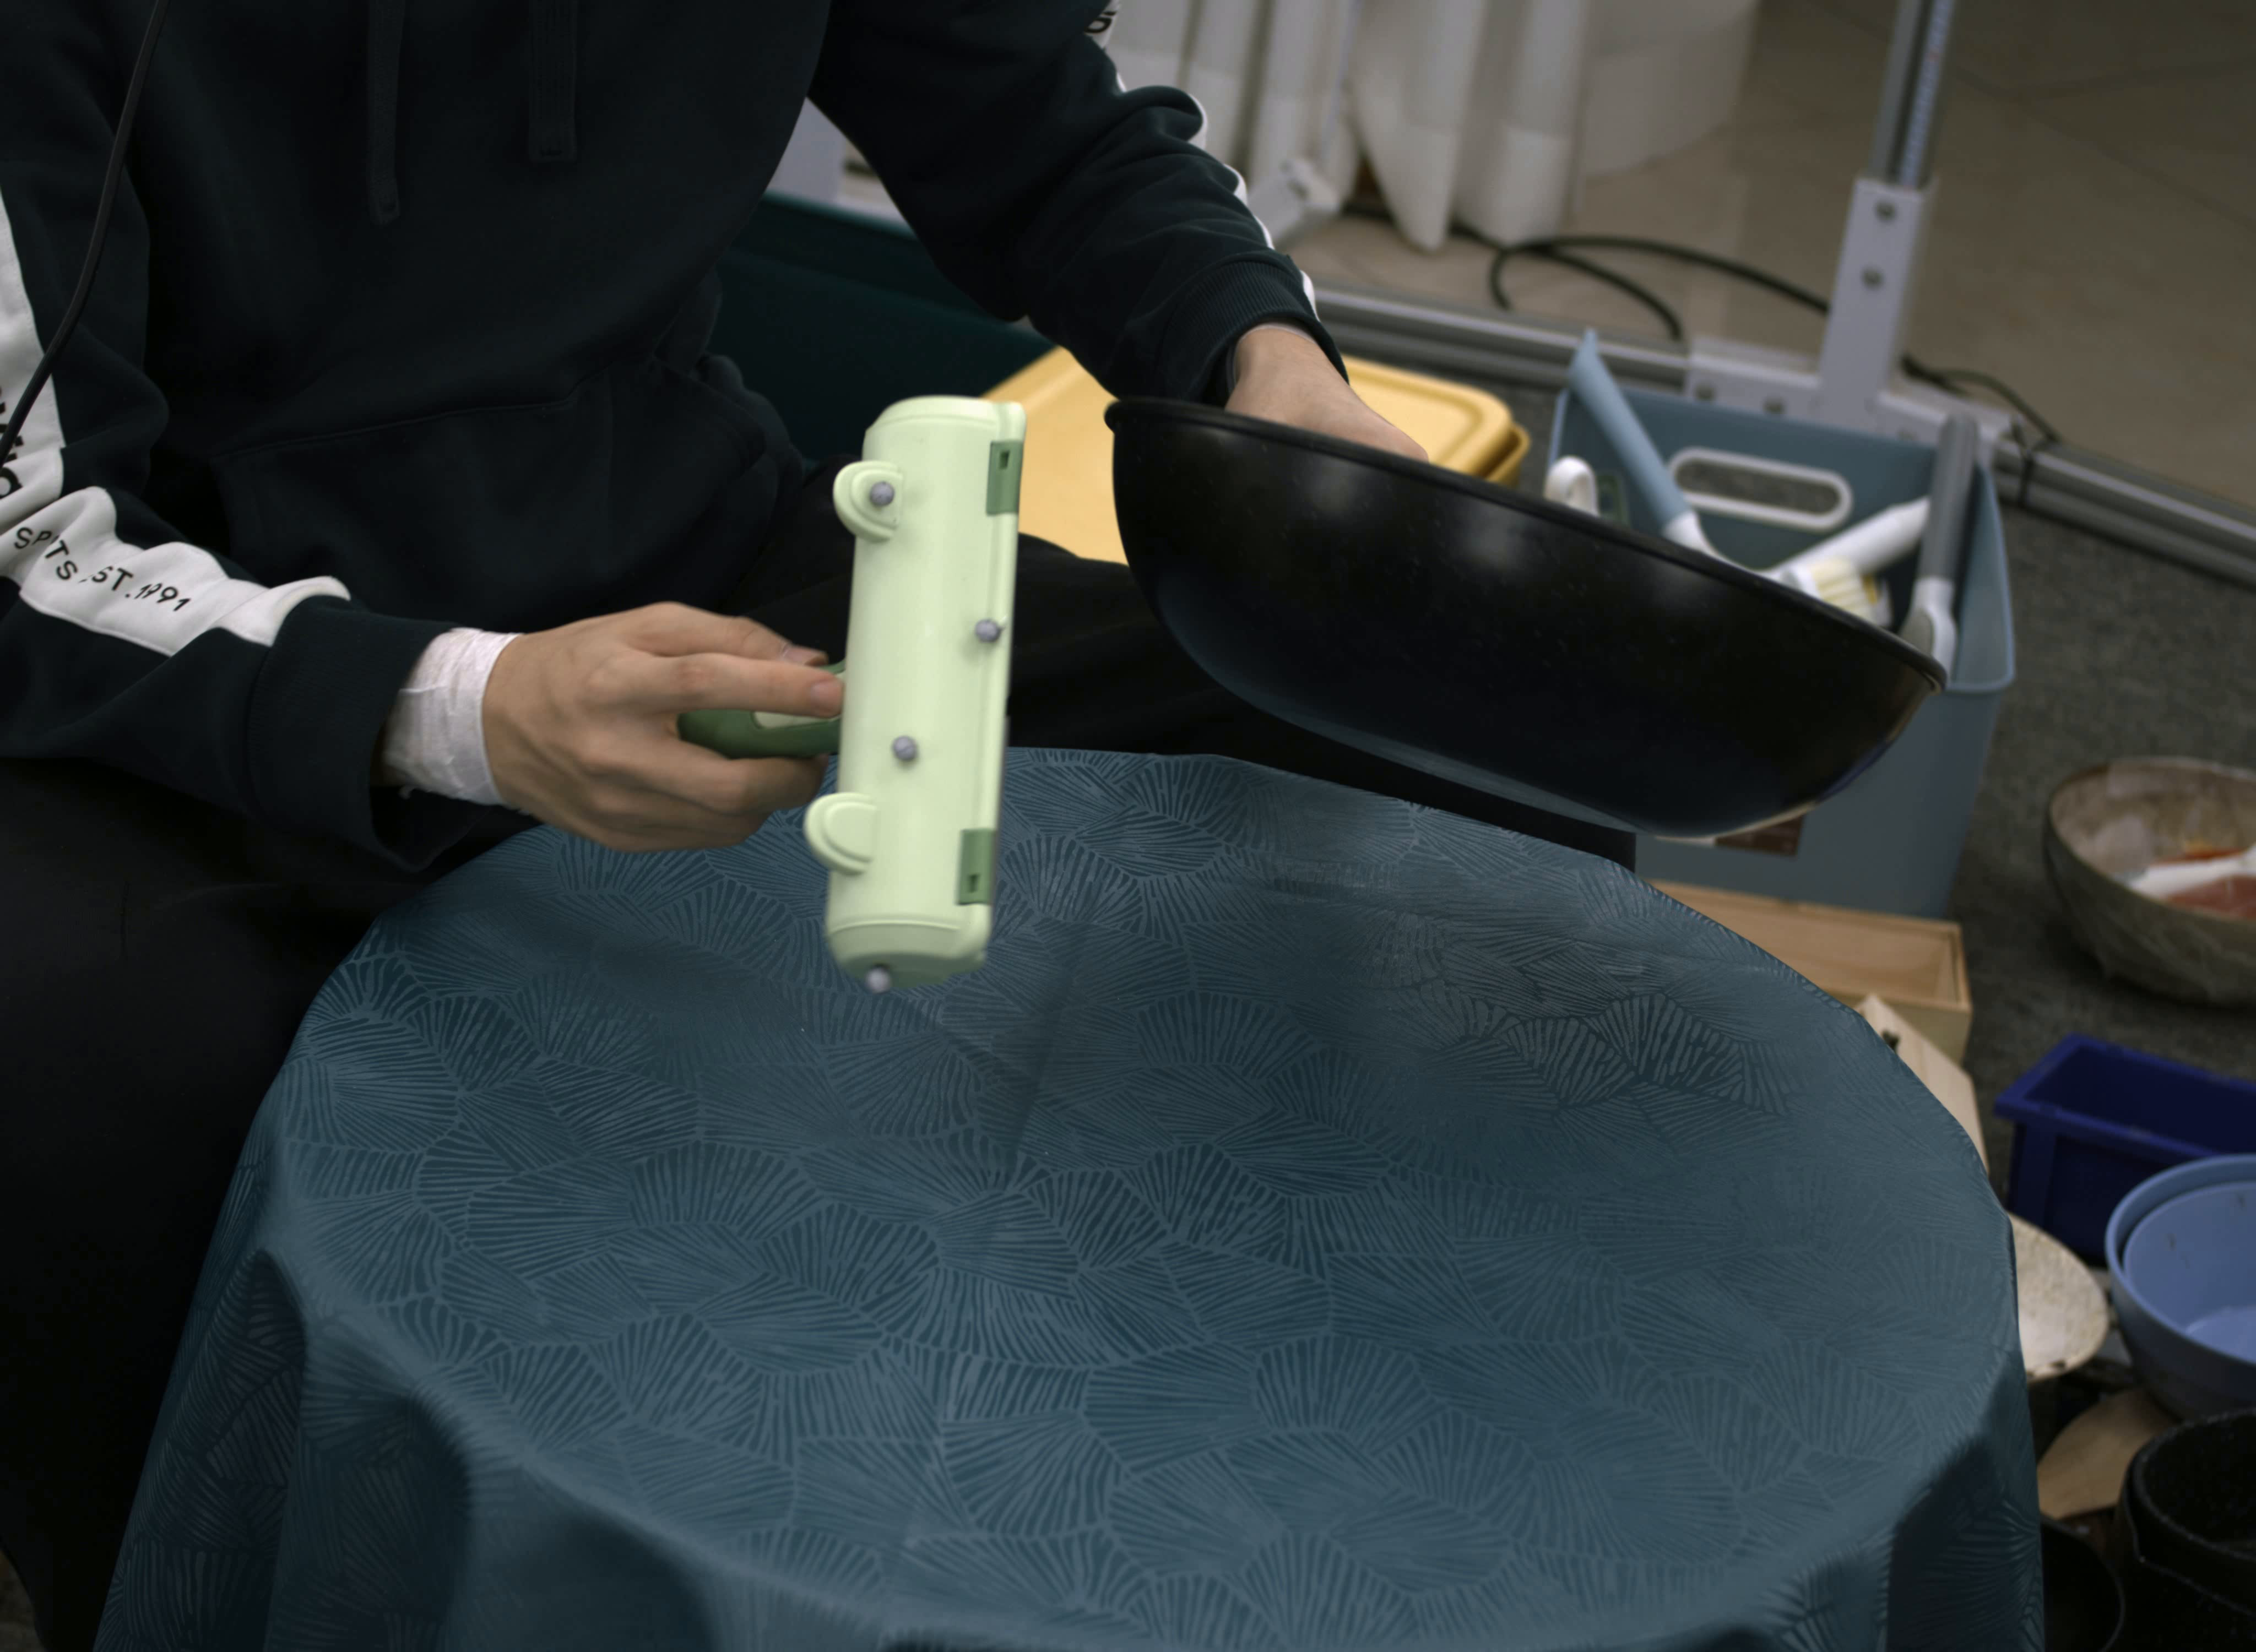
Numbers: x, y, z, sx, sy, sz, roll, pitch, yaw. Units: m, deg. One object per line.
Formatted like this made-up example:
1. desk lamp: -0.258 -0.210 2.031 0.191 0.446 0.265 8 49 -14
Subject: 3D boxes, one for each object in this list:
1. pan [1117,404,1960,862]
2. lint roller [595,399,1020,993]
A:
1. pan: 0.107 -0.073 1.934 0.308 0.112 0.479 20 -2 -19
2. lint roller: -0.121 -0.042 1.799 0.184 0.200 0.081 -6 -21 29
